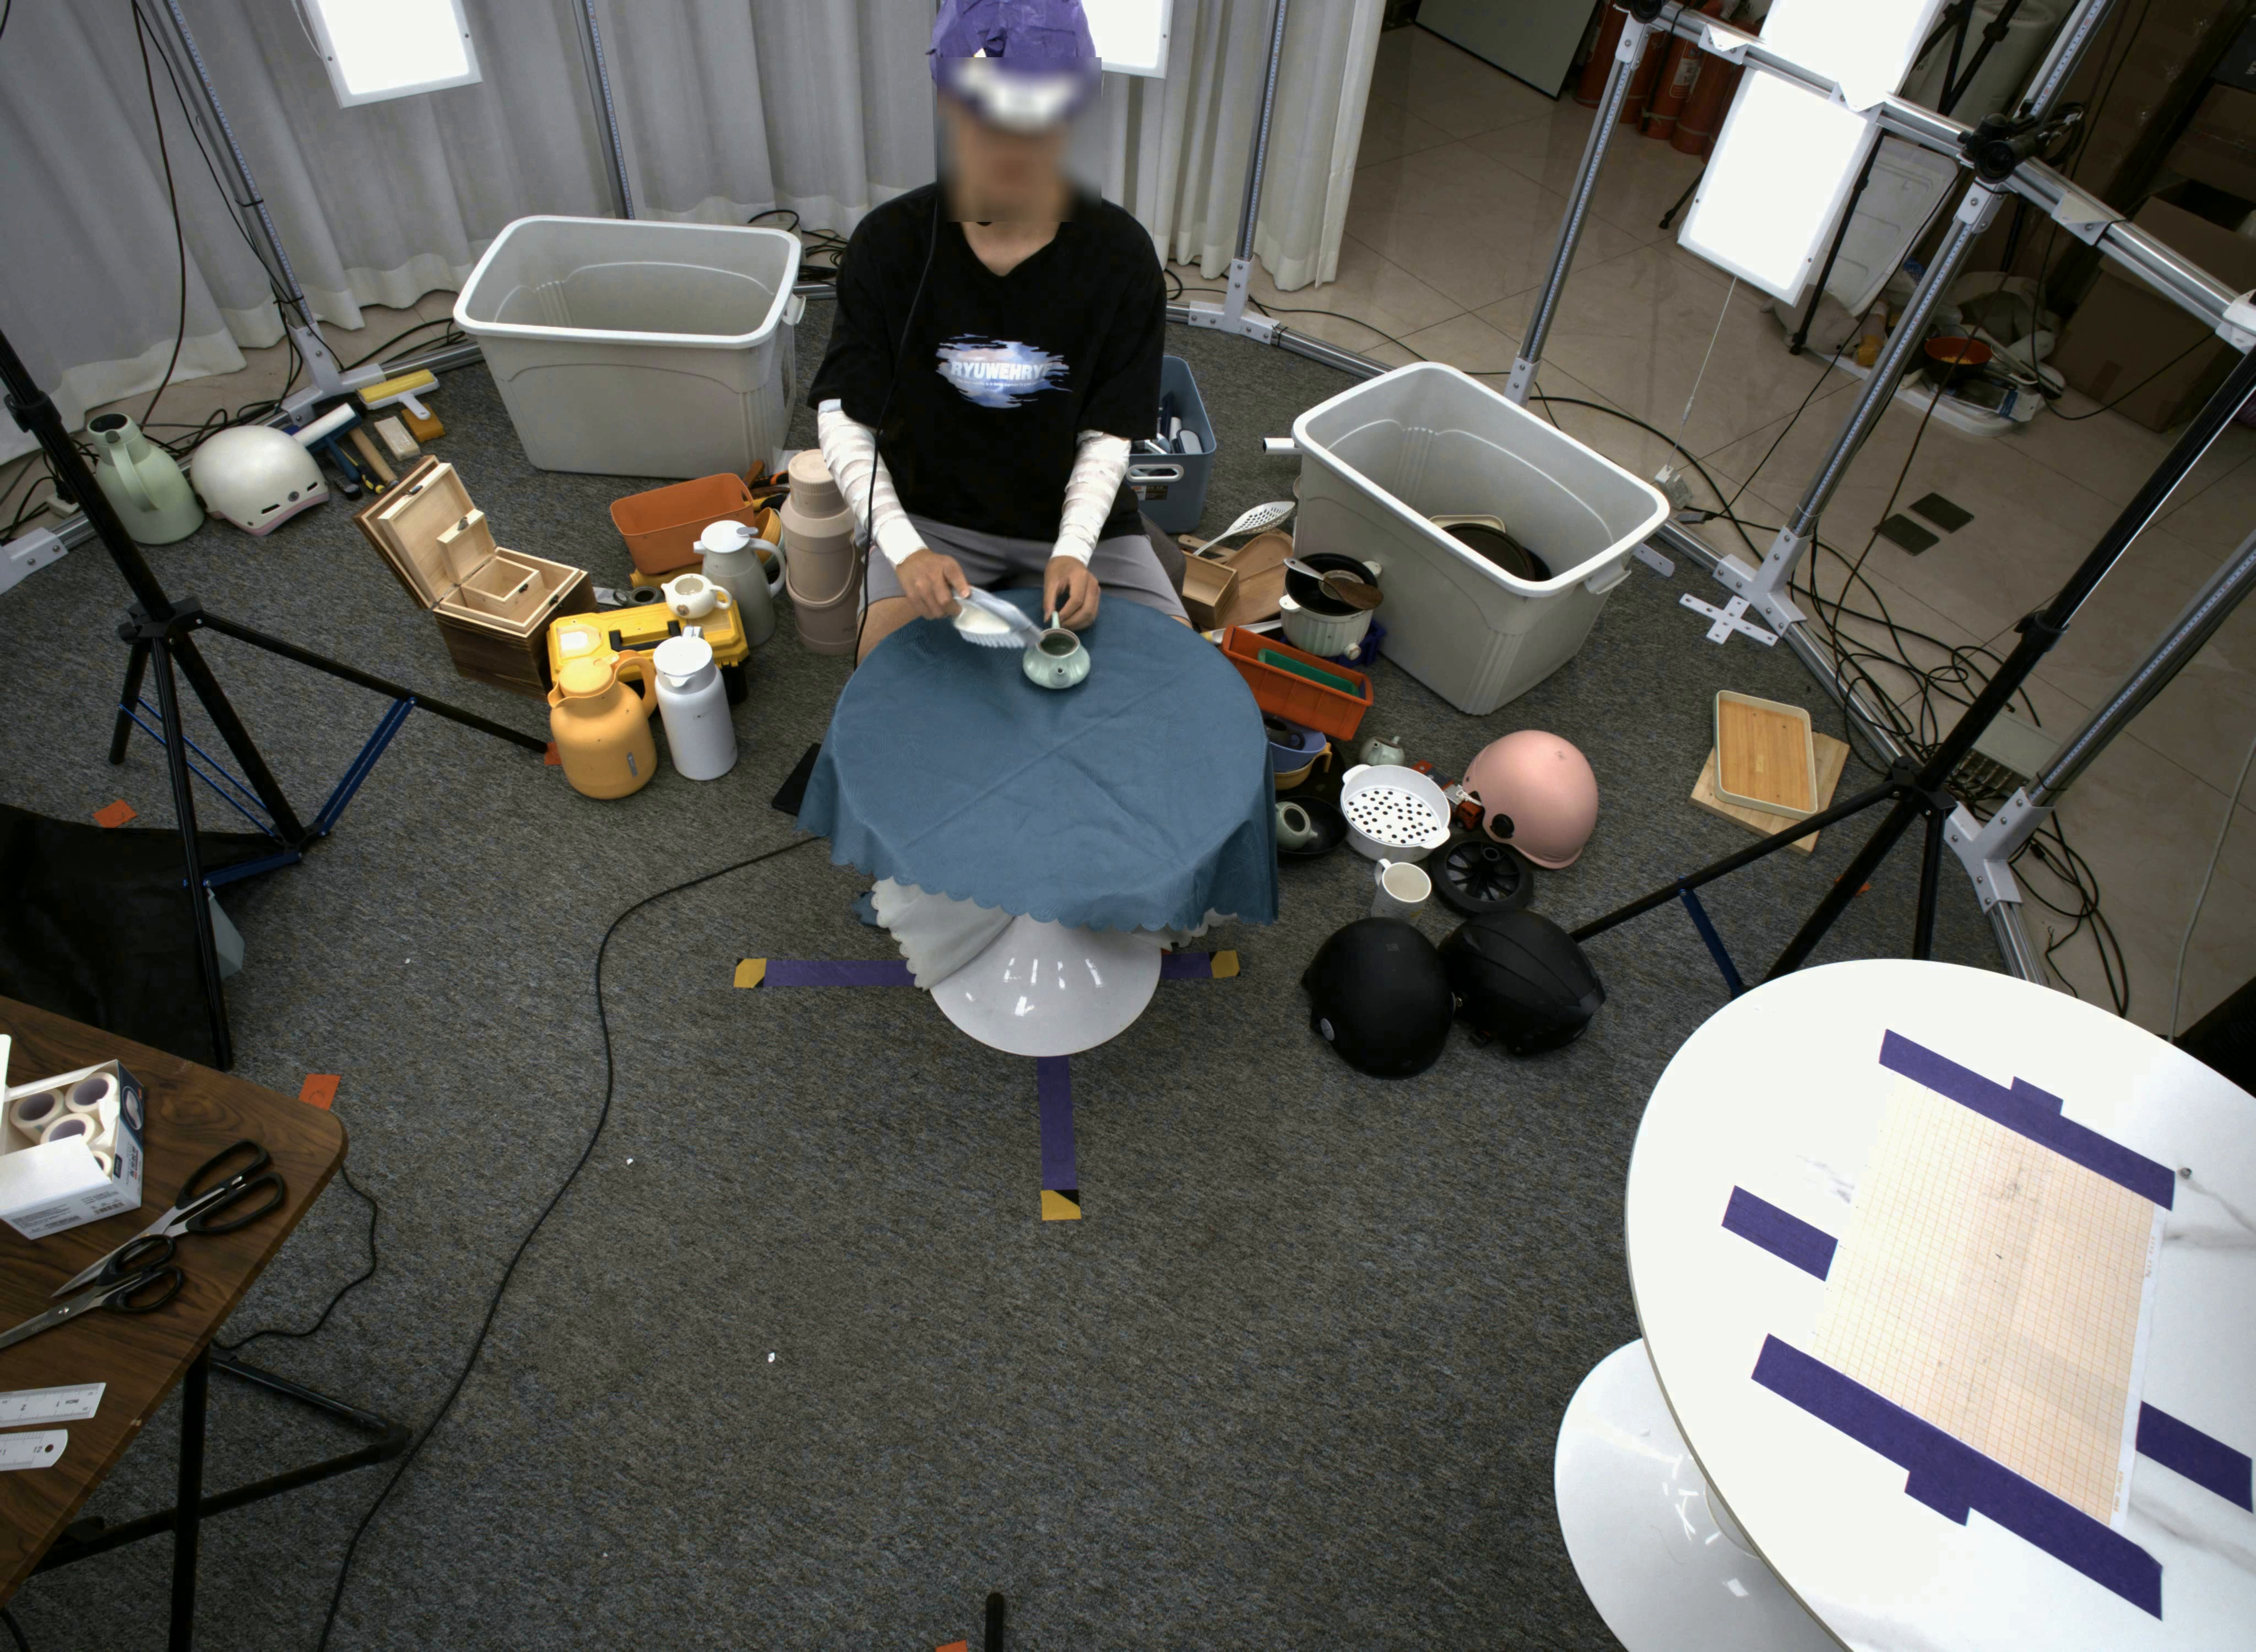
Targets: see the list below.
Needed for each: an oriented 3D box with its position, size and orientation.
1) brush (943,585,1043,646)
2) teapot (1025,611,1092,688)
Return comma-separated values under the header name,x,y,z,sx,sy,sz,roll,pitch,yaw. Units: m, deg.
name,x,y,z,sx,sy,sz,roll,pitch,yaw
brush,-0.194,-0.297,1.792,0.178,0.092,0.062,24,79,47
teapot,-0.100,-0.247,1.841,0.096,0.060,0.140,-5,50,-6
